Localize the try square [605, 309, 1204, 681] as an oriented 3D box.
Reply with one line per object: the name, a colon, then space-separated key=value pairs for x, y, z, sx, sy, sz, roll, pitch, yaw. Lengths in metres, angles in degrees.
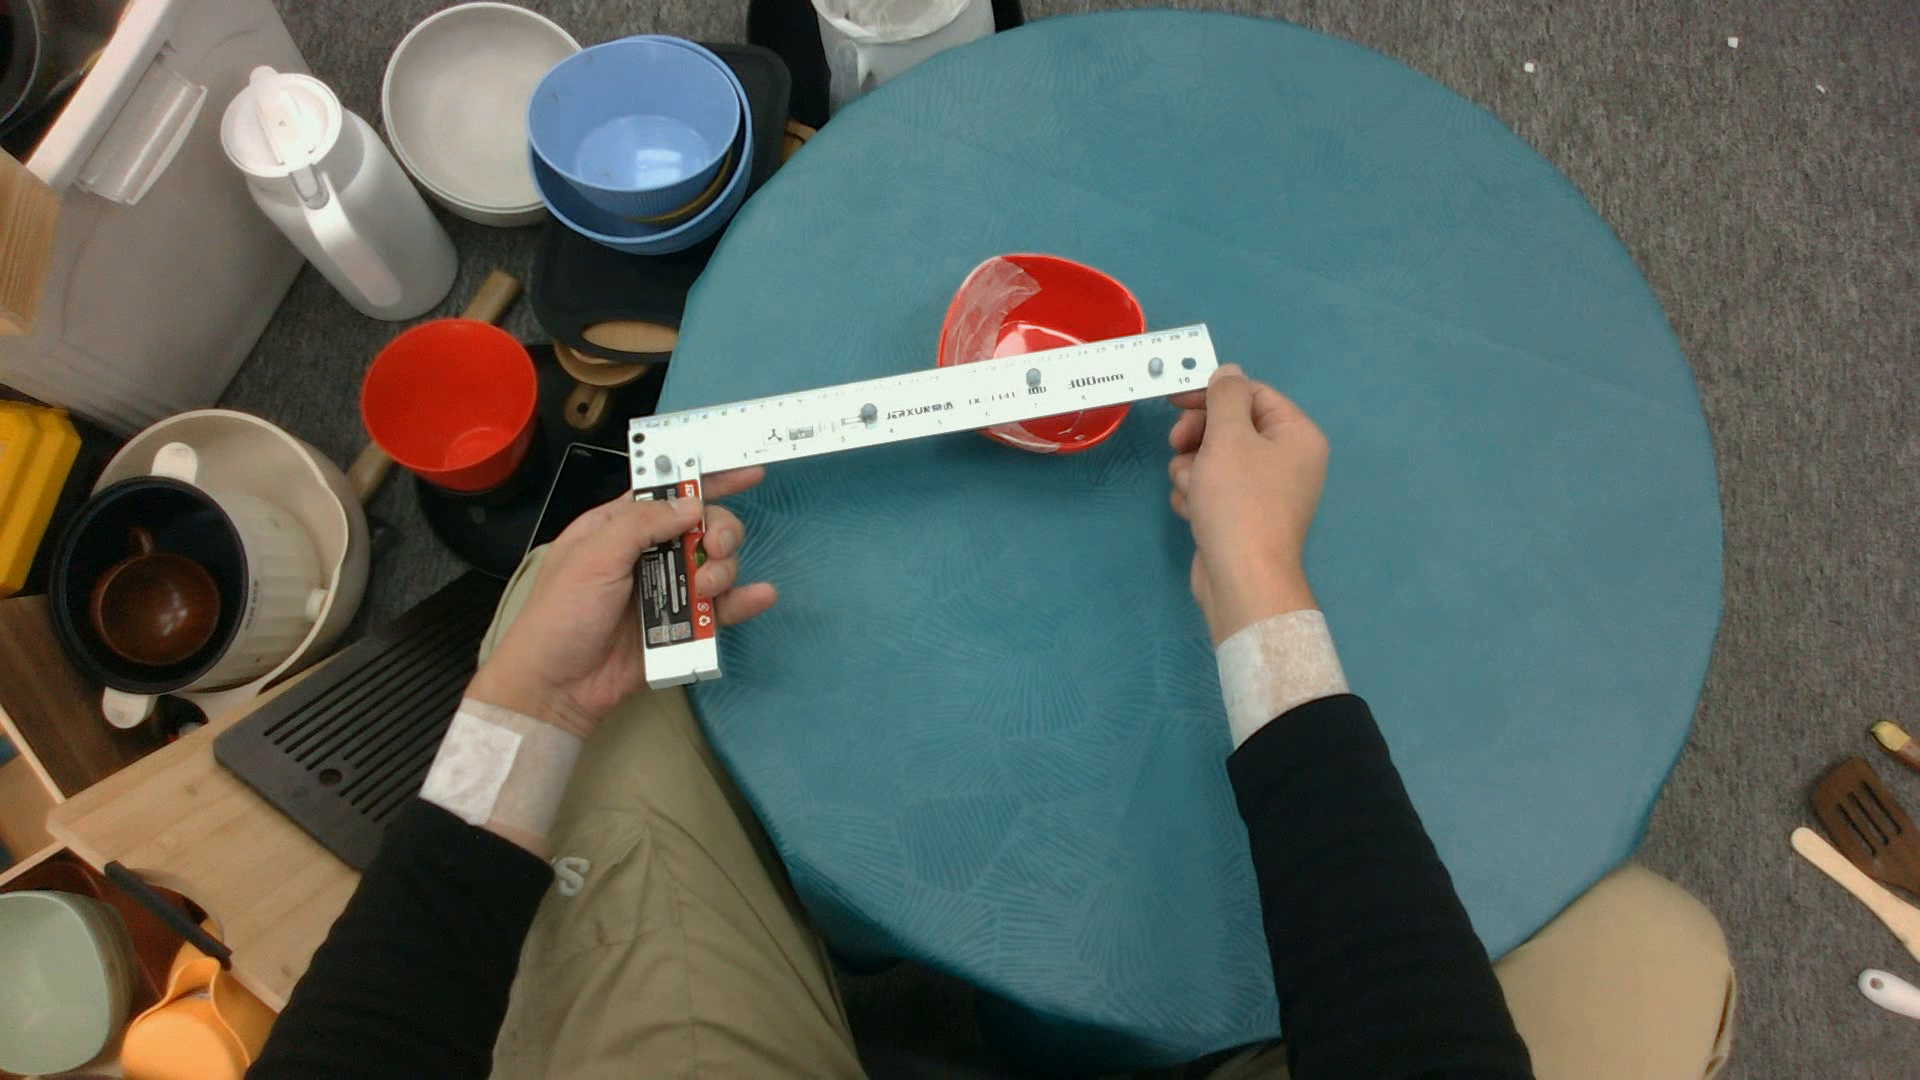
try square: x=-0.019 y=-0.028 z=0.695 sx=0.313 sy=0.016 sz=0.153 roll=-10 pitch=66 yaw=-4

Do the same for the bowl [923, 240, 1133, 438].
bowl: x=0.035 y=-0.102 z=0.753 sx=0.119 sy=0.051 sz=0.119 roll=1 pitch=71 yaw=-4
